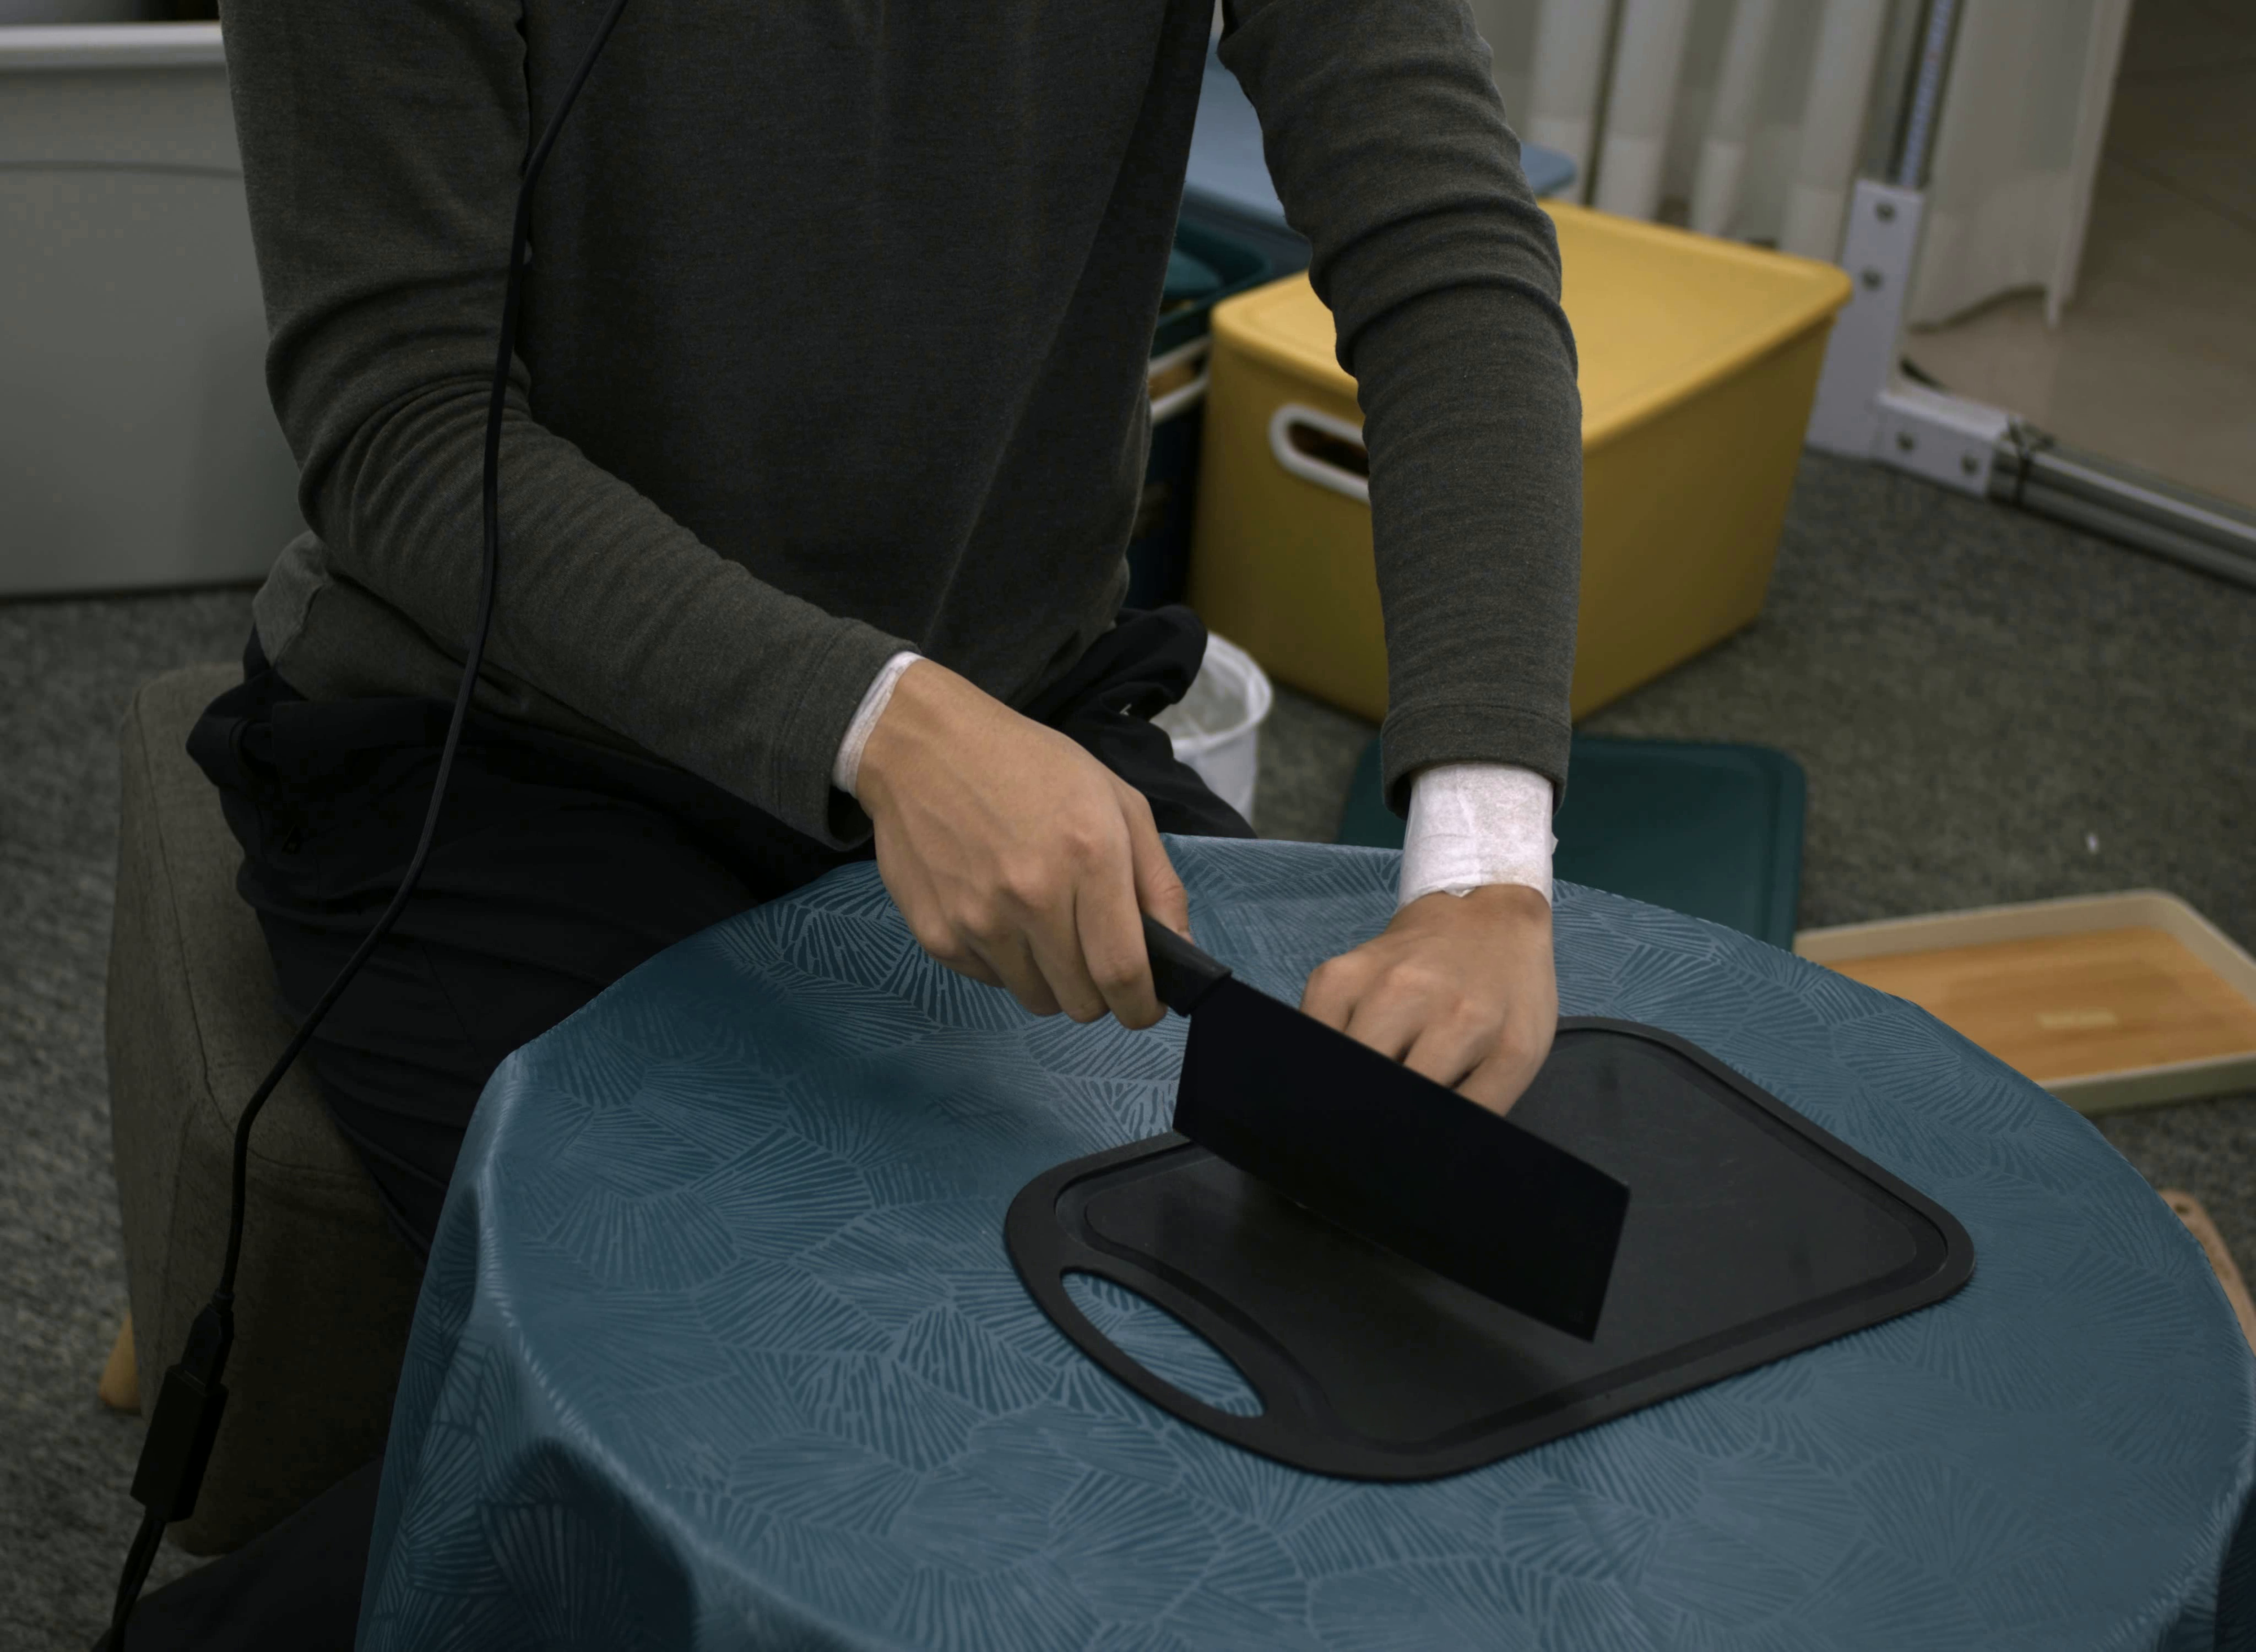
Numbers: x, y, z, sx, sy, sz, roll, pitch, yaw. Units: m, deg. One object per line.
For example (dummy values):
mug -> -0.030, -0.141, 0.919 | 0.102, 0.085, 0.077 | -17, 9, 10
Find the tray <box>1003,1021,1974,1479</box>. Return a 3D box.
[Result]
tray -> 0.118, 0.139, 1.795 | 0.323, 0.010, 0.213 | -14, 32, -35

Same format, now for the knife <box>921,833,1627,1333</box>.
knife -> 0.044, 0.080, 1.790 | 0.304, 0.081, 0.021 | 31, 30, 31
